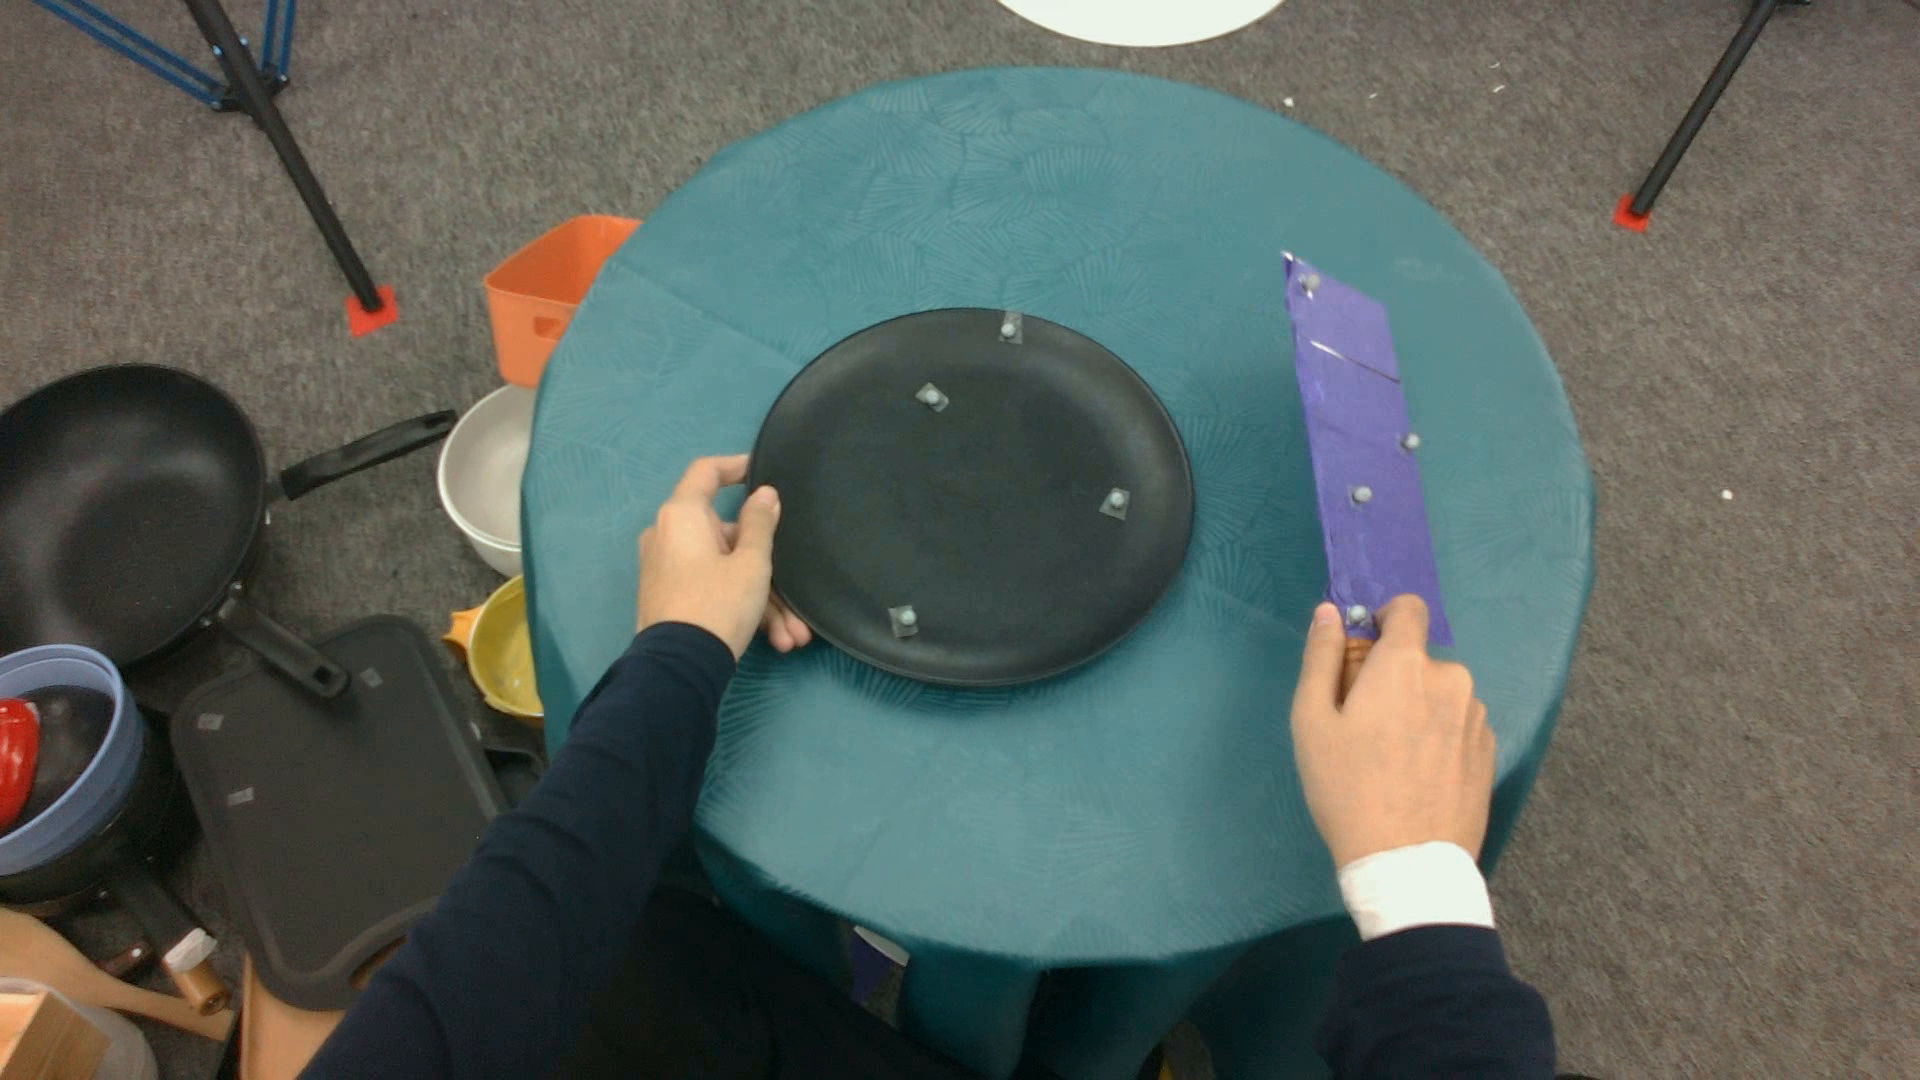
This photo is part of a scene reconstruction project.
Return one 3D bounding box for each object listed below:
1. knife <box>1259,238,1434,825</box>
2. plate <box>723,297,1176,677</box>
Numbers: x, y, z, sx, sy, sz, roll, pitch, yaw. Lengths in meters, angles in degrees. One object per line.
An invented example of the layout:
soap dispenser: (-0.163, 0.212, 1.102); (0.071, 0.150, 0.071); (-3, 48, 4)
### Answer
knife: (0.205, -0.011, 0.697); (0.104, 0.032, 0.316); (17, 60, -32)
plate: (-0.005, -0.032, 0.749); (0.244, 0.023, 0.245); (2, 59, -3)
